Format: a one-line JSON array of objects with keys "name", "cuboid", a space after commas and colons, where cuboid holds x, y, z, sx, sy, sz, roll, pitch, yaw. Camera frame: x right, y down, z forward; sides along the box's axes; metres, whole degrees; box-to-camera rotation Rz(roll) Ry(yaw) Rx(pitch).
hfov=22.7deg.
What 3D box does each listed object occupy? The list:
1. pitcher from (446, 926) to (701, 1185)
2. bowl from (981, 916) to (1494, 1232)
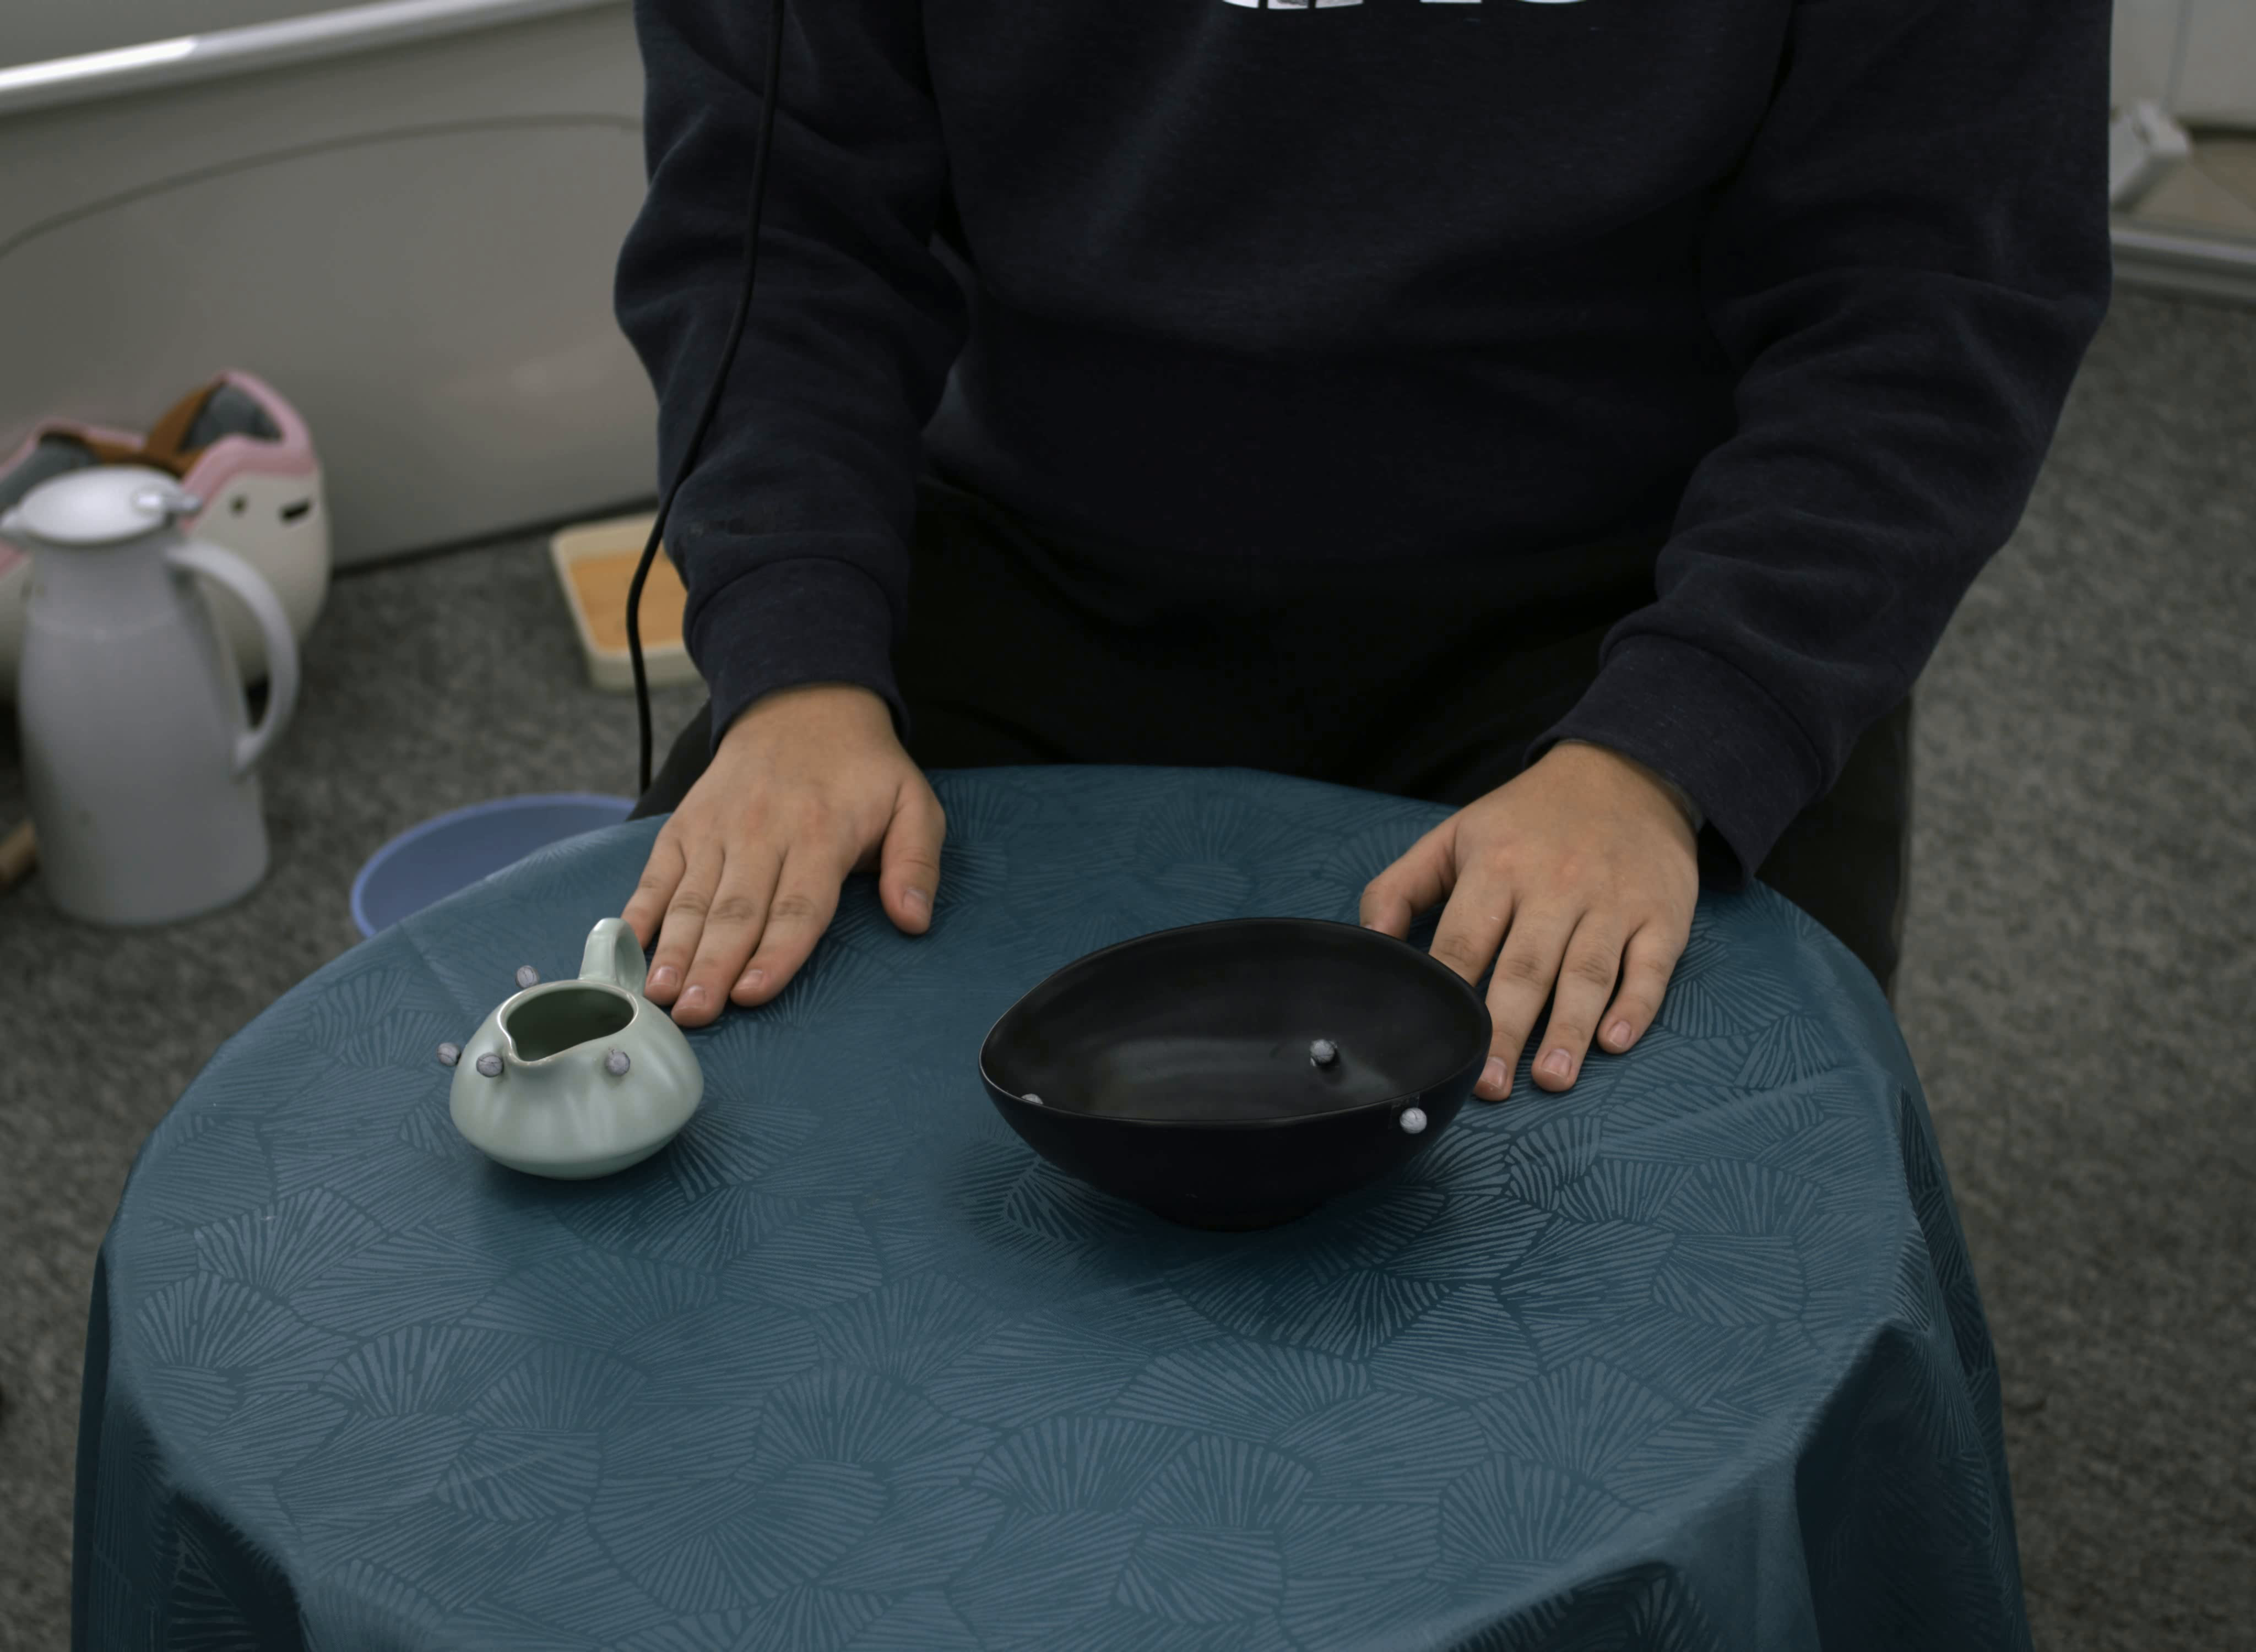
[{"name": "pitcher", "cuboid": [-0.185, 0.079, 1.903, 0.085, 0.060, 0.110, 4, 26, 11]}, {"name": "bowl", "cuboid": [0.037, 0.091, 1.854, 0.169, 0.066, 0.139, -2, 26, 3]}]
